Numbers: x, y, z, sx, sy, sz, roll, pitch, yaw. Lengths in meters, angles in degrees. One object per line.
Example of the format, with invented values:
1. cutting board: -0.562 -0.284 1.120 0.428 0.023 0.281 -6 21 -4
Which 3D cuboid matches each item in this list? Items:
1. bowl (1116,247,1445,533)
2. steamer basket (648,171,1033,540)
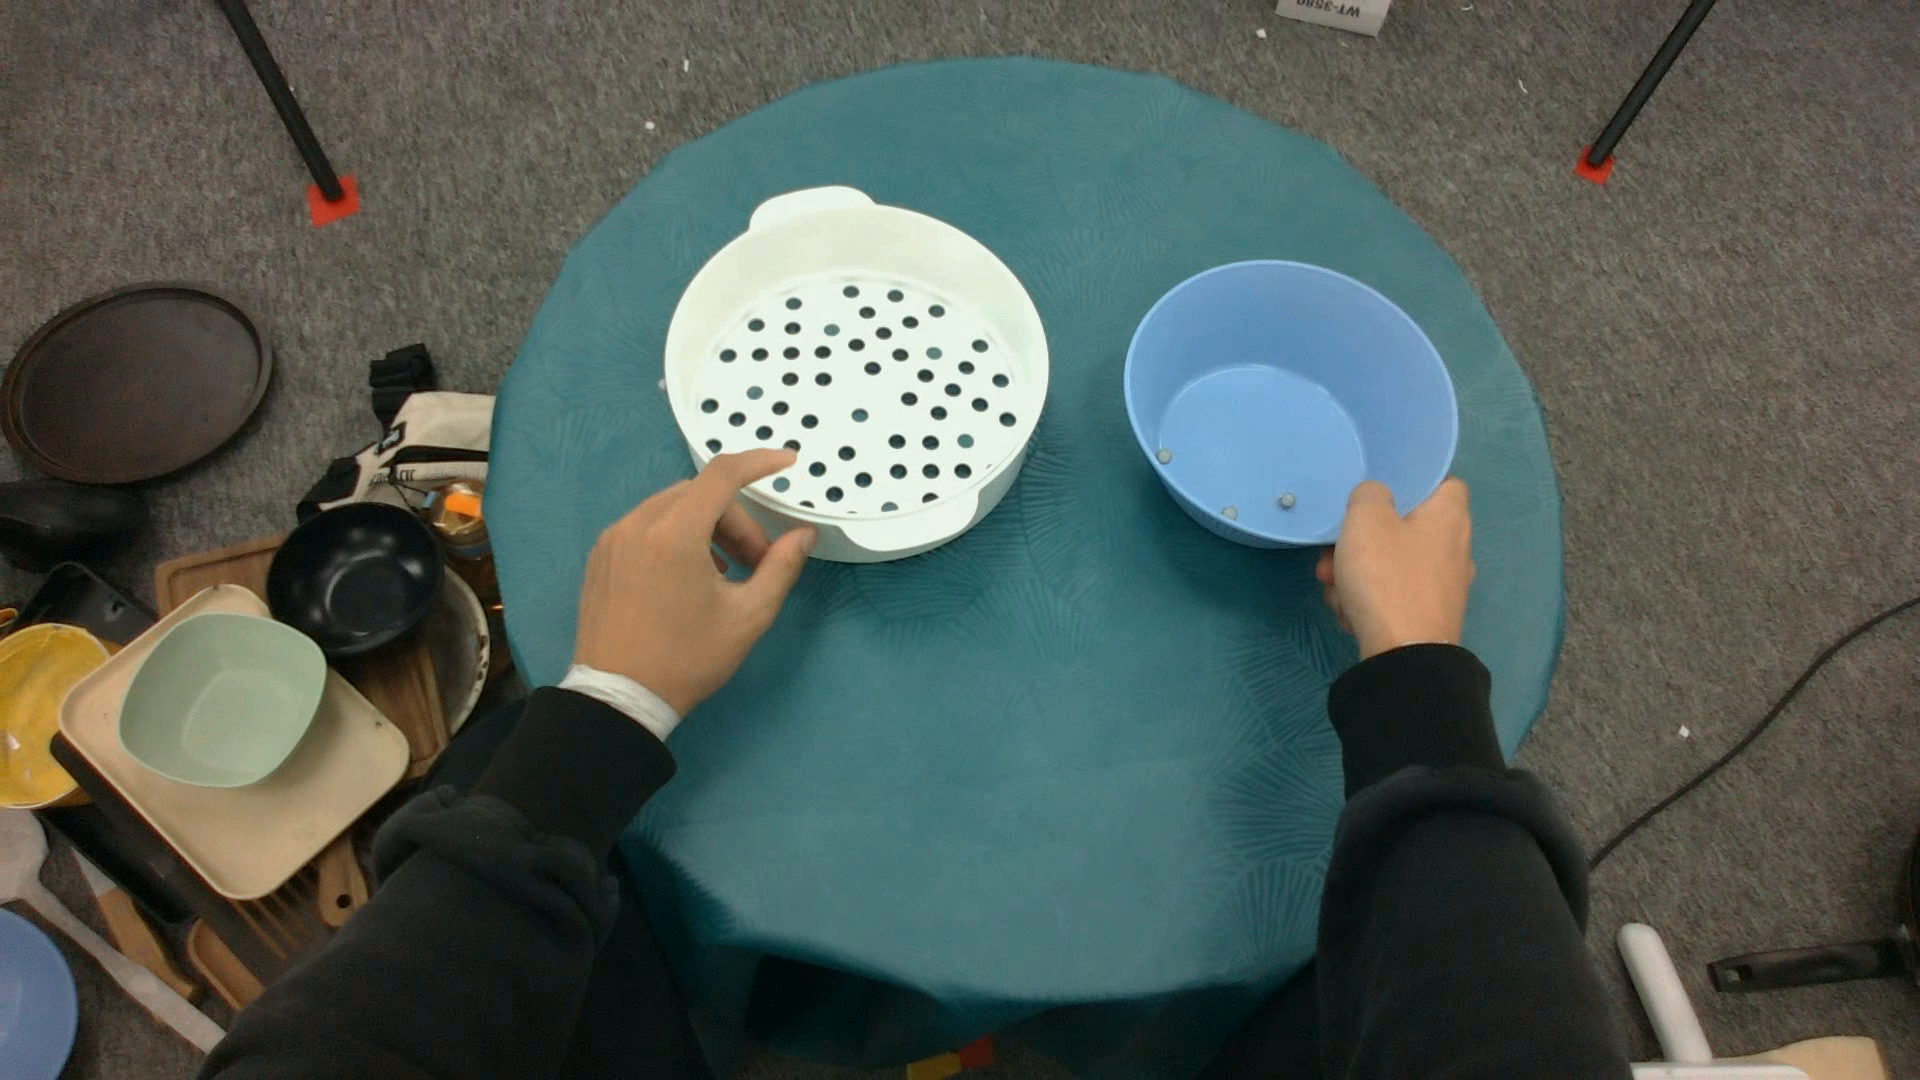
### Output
1. bowl: 0.168 -0.070 0.755 0.176 0.070 0.176 1 63 -3
2. steamer basket: -0.064 -0.095 0.749 0.202 0.069 0.231 -15 63 -12
